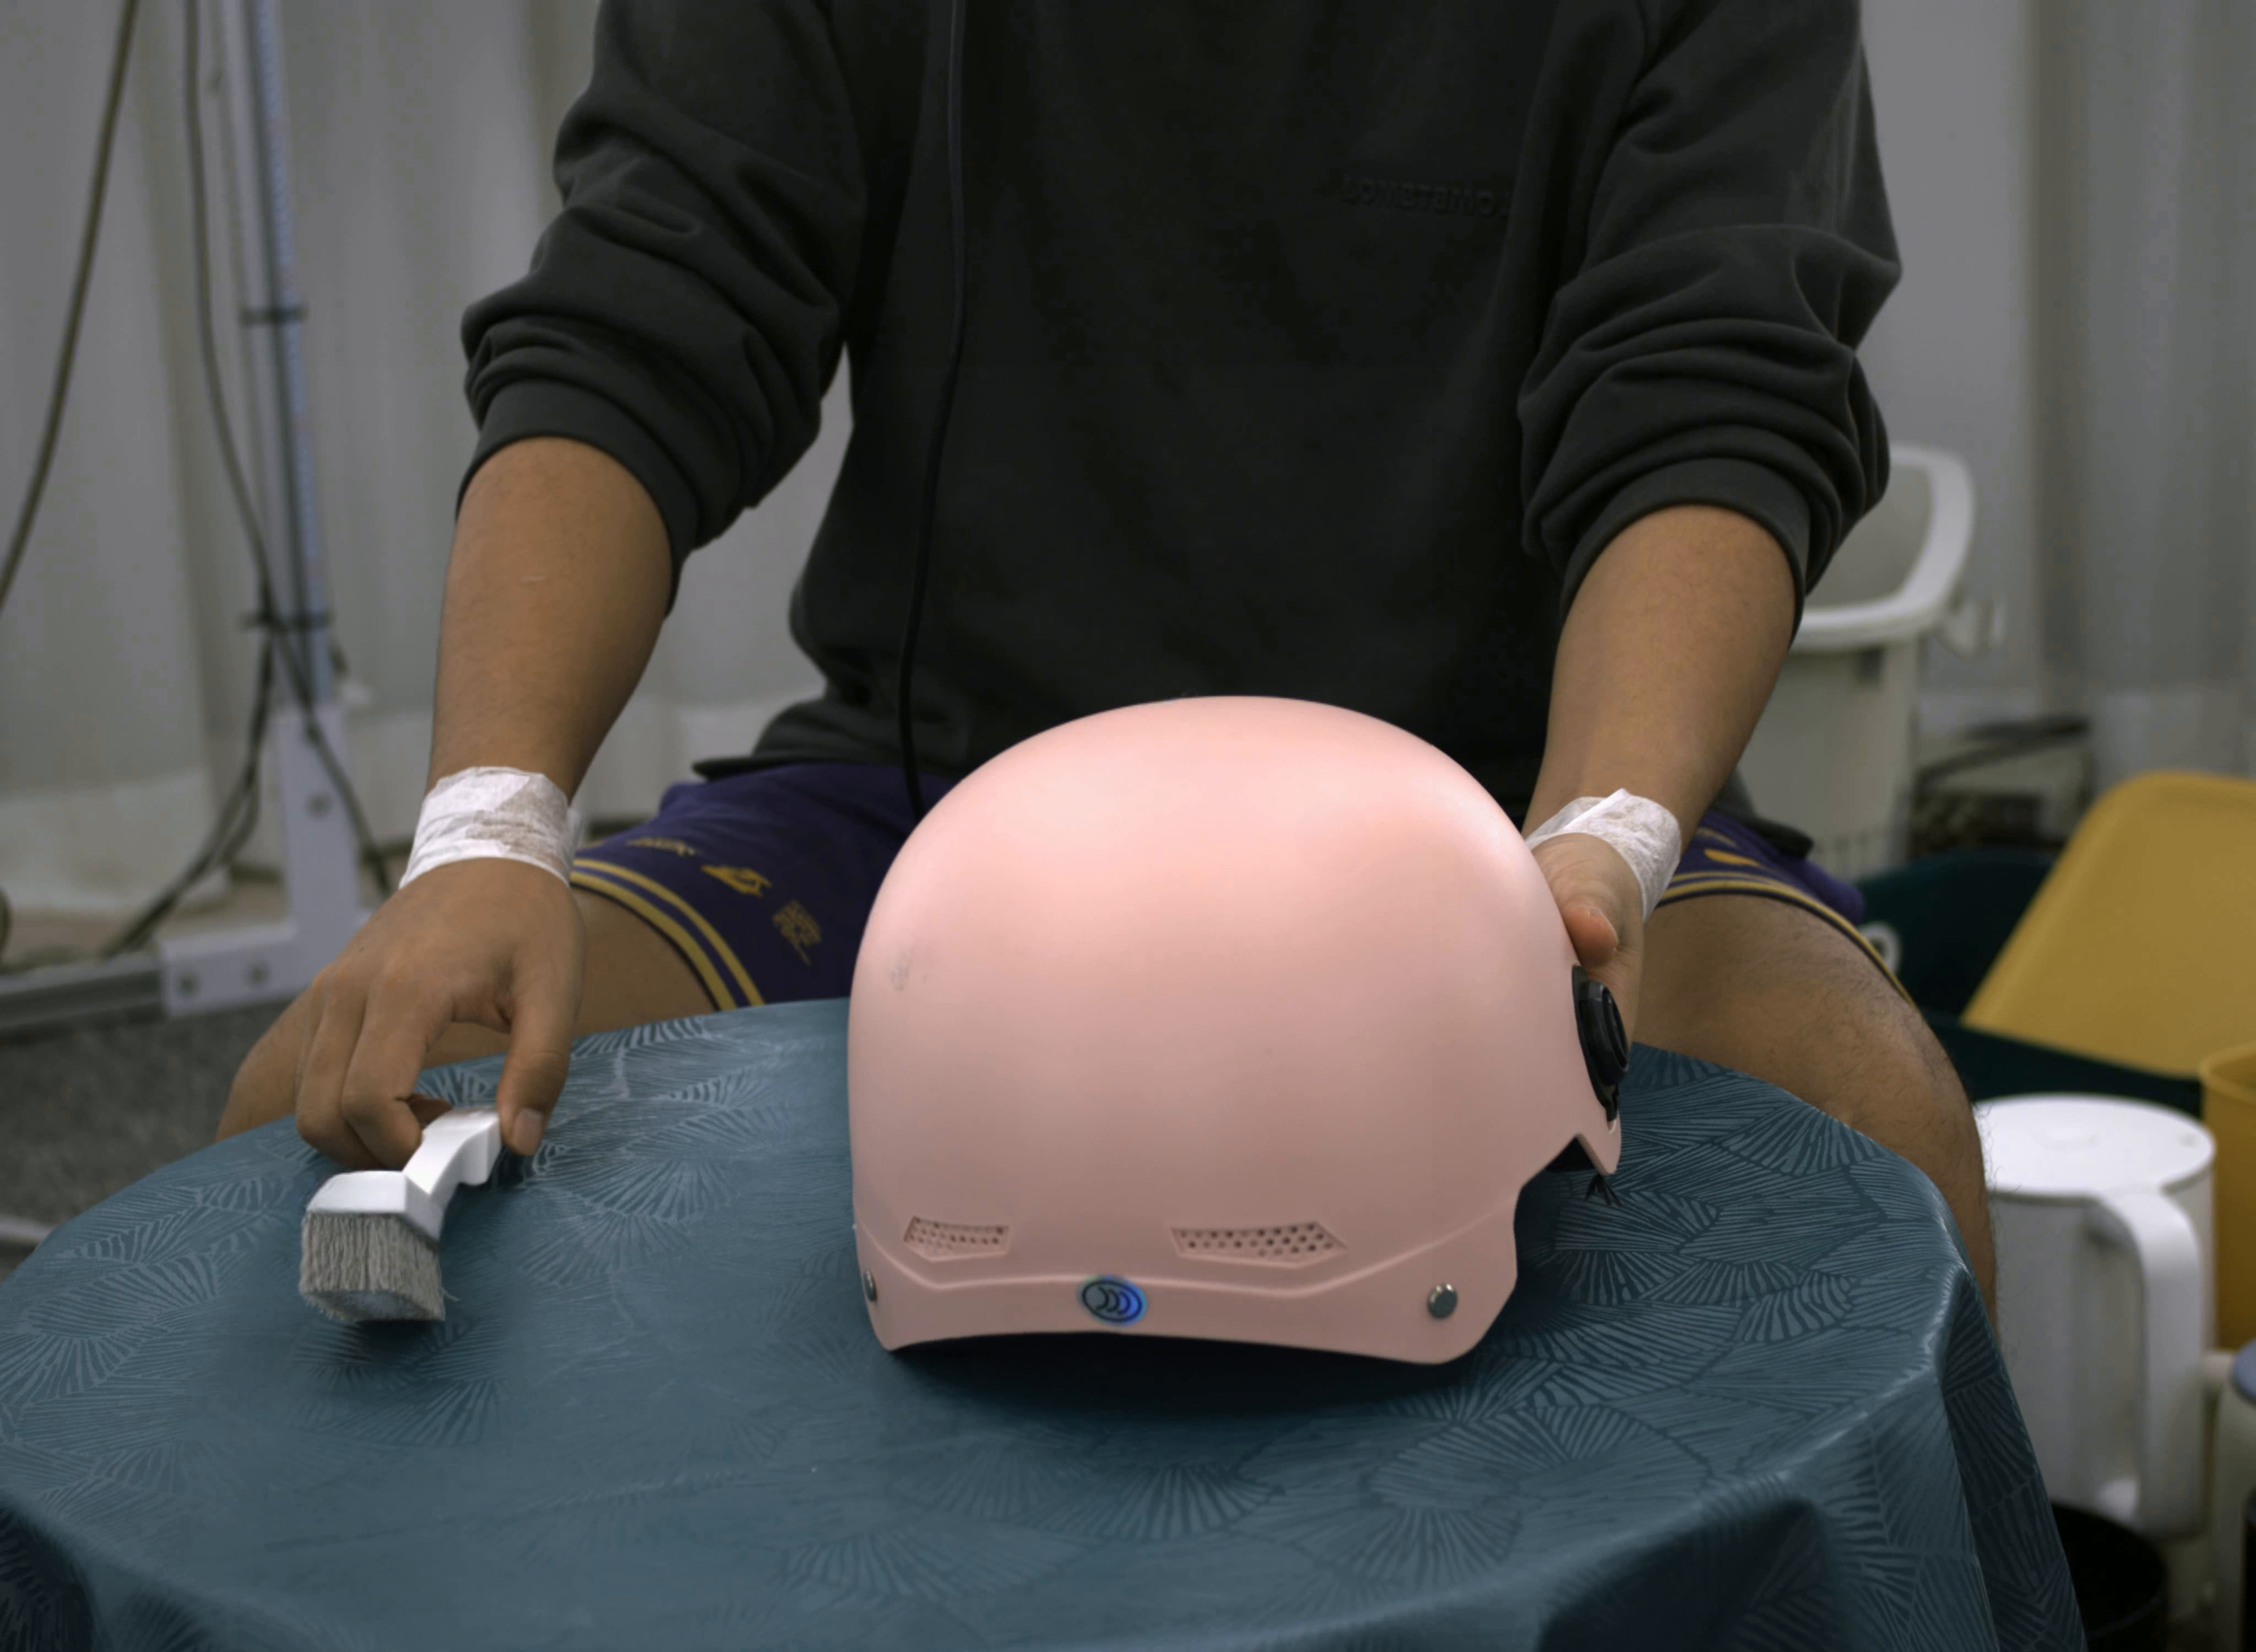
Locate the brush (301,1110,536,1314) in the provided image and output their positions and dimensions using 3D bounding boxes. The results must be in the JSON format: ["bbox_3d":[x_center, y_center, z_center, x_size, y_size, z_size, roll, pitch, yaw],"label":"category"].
[{"bbox_3d":[-0.215,0.119,1.698,0.034,0.050,0.243,-4,1,5],"label":"brush"}]

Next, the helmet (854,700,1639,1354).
[{"bbox_3d":[0.026,0.041,1.610,0.234,0.158,0.268,-2,23,20],"label":"helmet"}]
